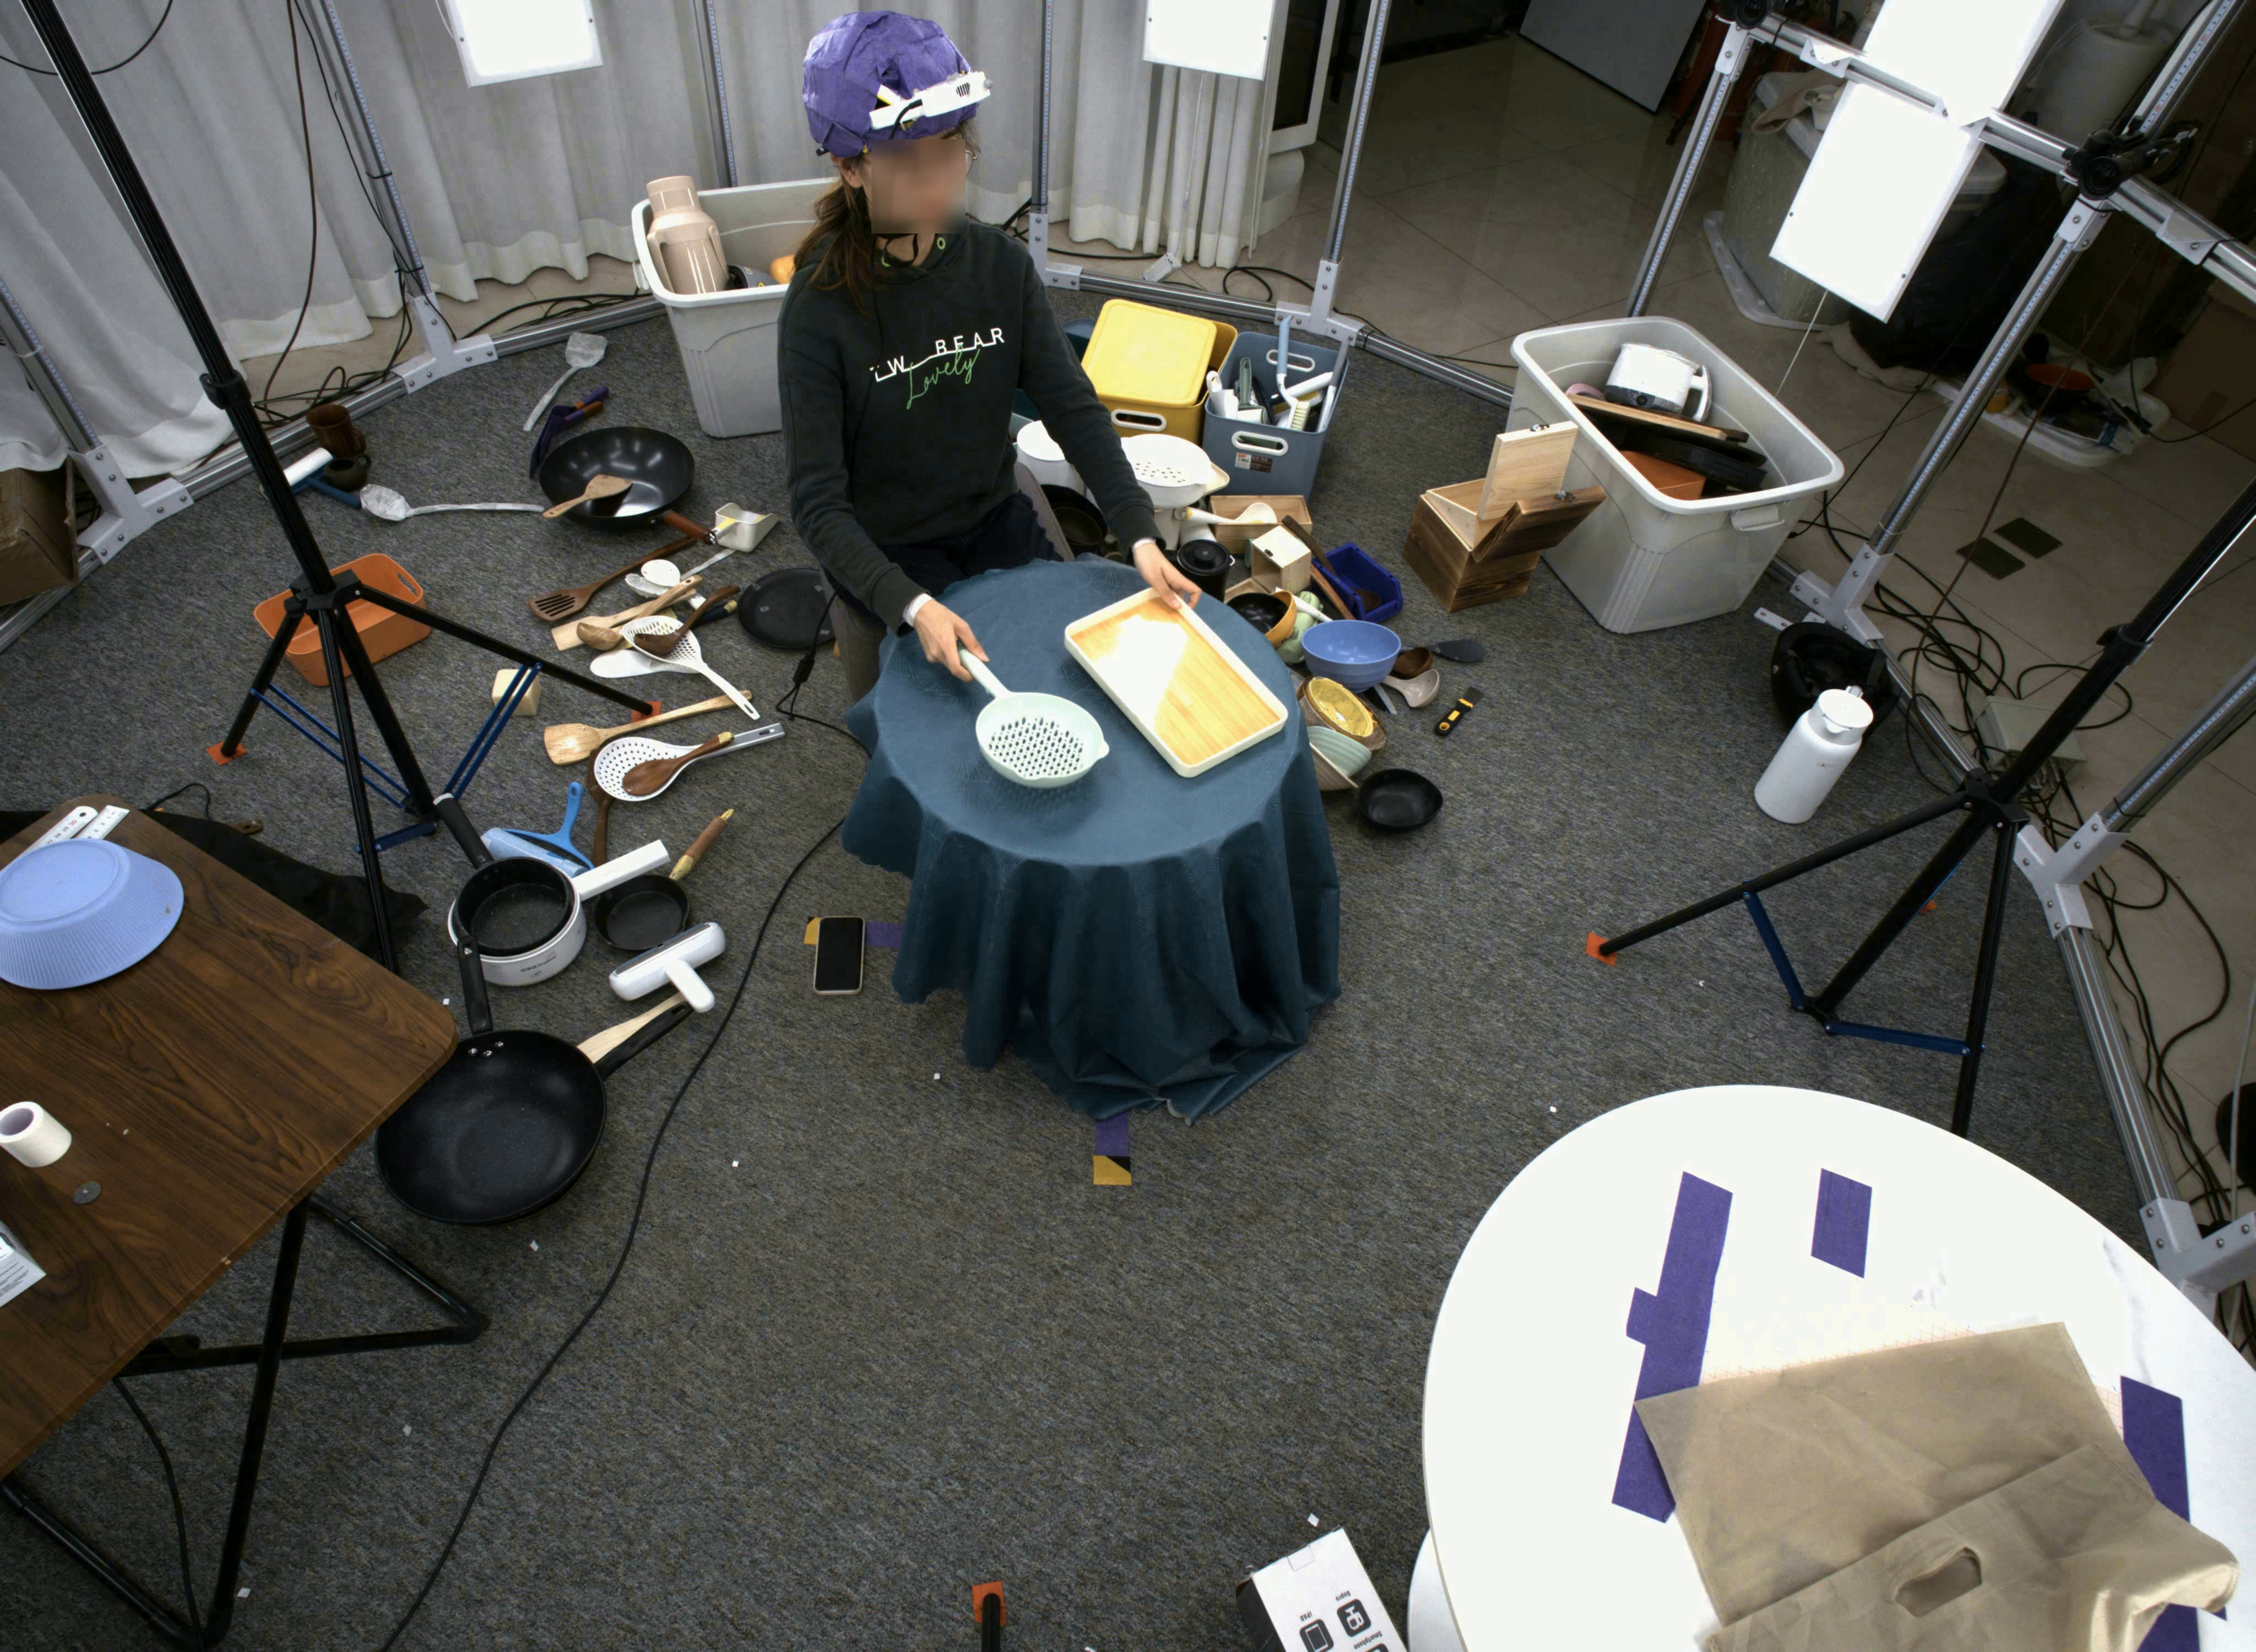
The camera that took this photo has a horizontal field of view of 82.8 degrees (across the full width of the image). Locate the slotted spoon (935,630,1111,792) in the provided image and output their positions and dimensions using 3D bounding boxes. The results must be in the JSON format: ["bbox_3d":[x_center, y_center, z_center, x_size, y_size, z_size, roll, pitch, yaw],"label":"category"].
[{"bbox_3d":[-0.171,-0.172,1.762,0.170,0.074,0.365,-20,59,-30],"label":"slotted spoon"}]

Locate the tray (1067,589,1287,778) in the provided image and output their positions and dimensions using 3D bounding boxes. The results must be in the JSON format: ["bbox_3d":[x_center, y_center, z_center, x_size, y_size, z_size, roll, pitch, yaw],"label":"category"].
[{"bbox_3d":[0.067,-0.209,1.836,0.192,0.027,0.305,-27,62,-25],"label":"tray"}]
